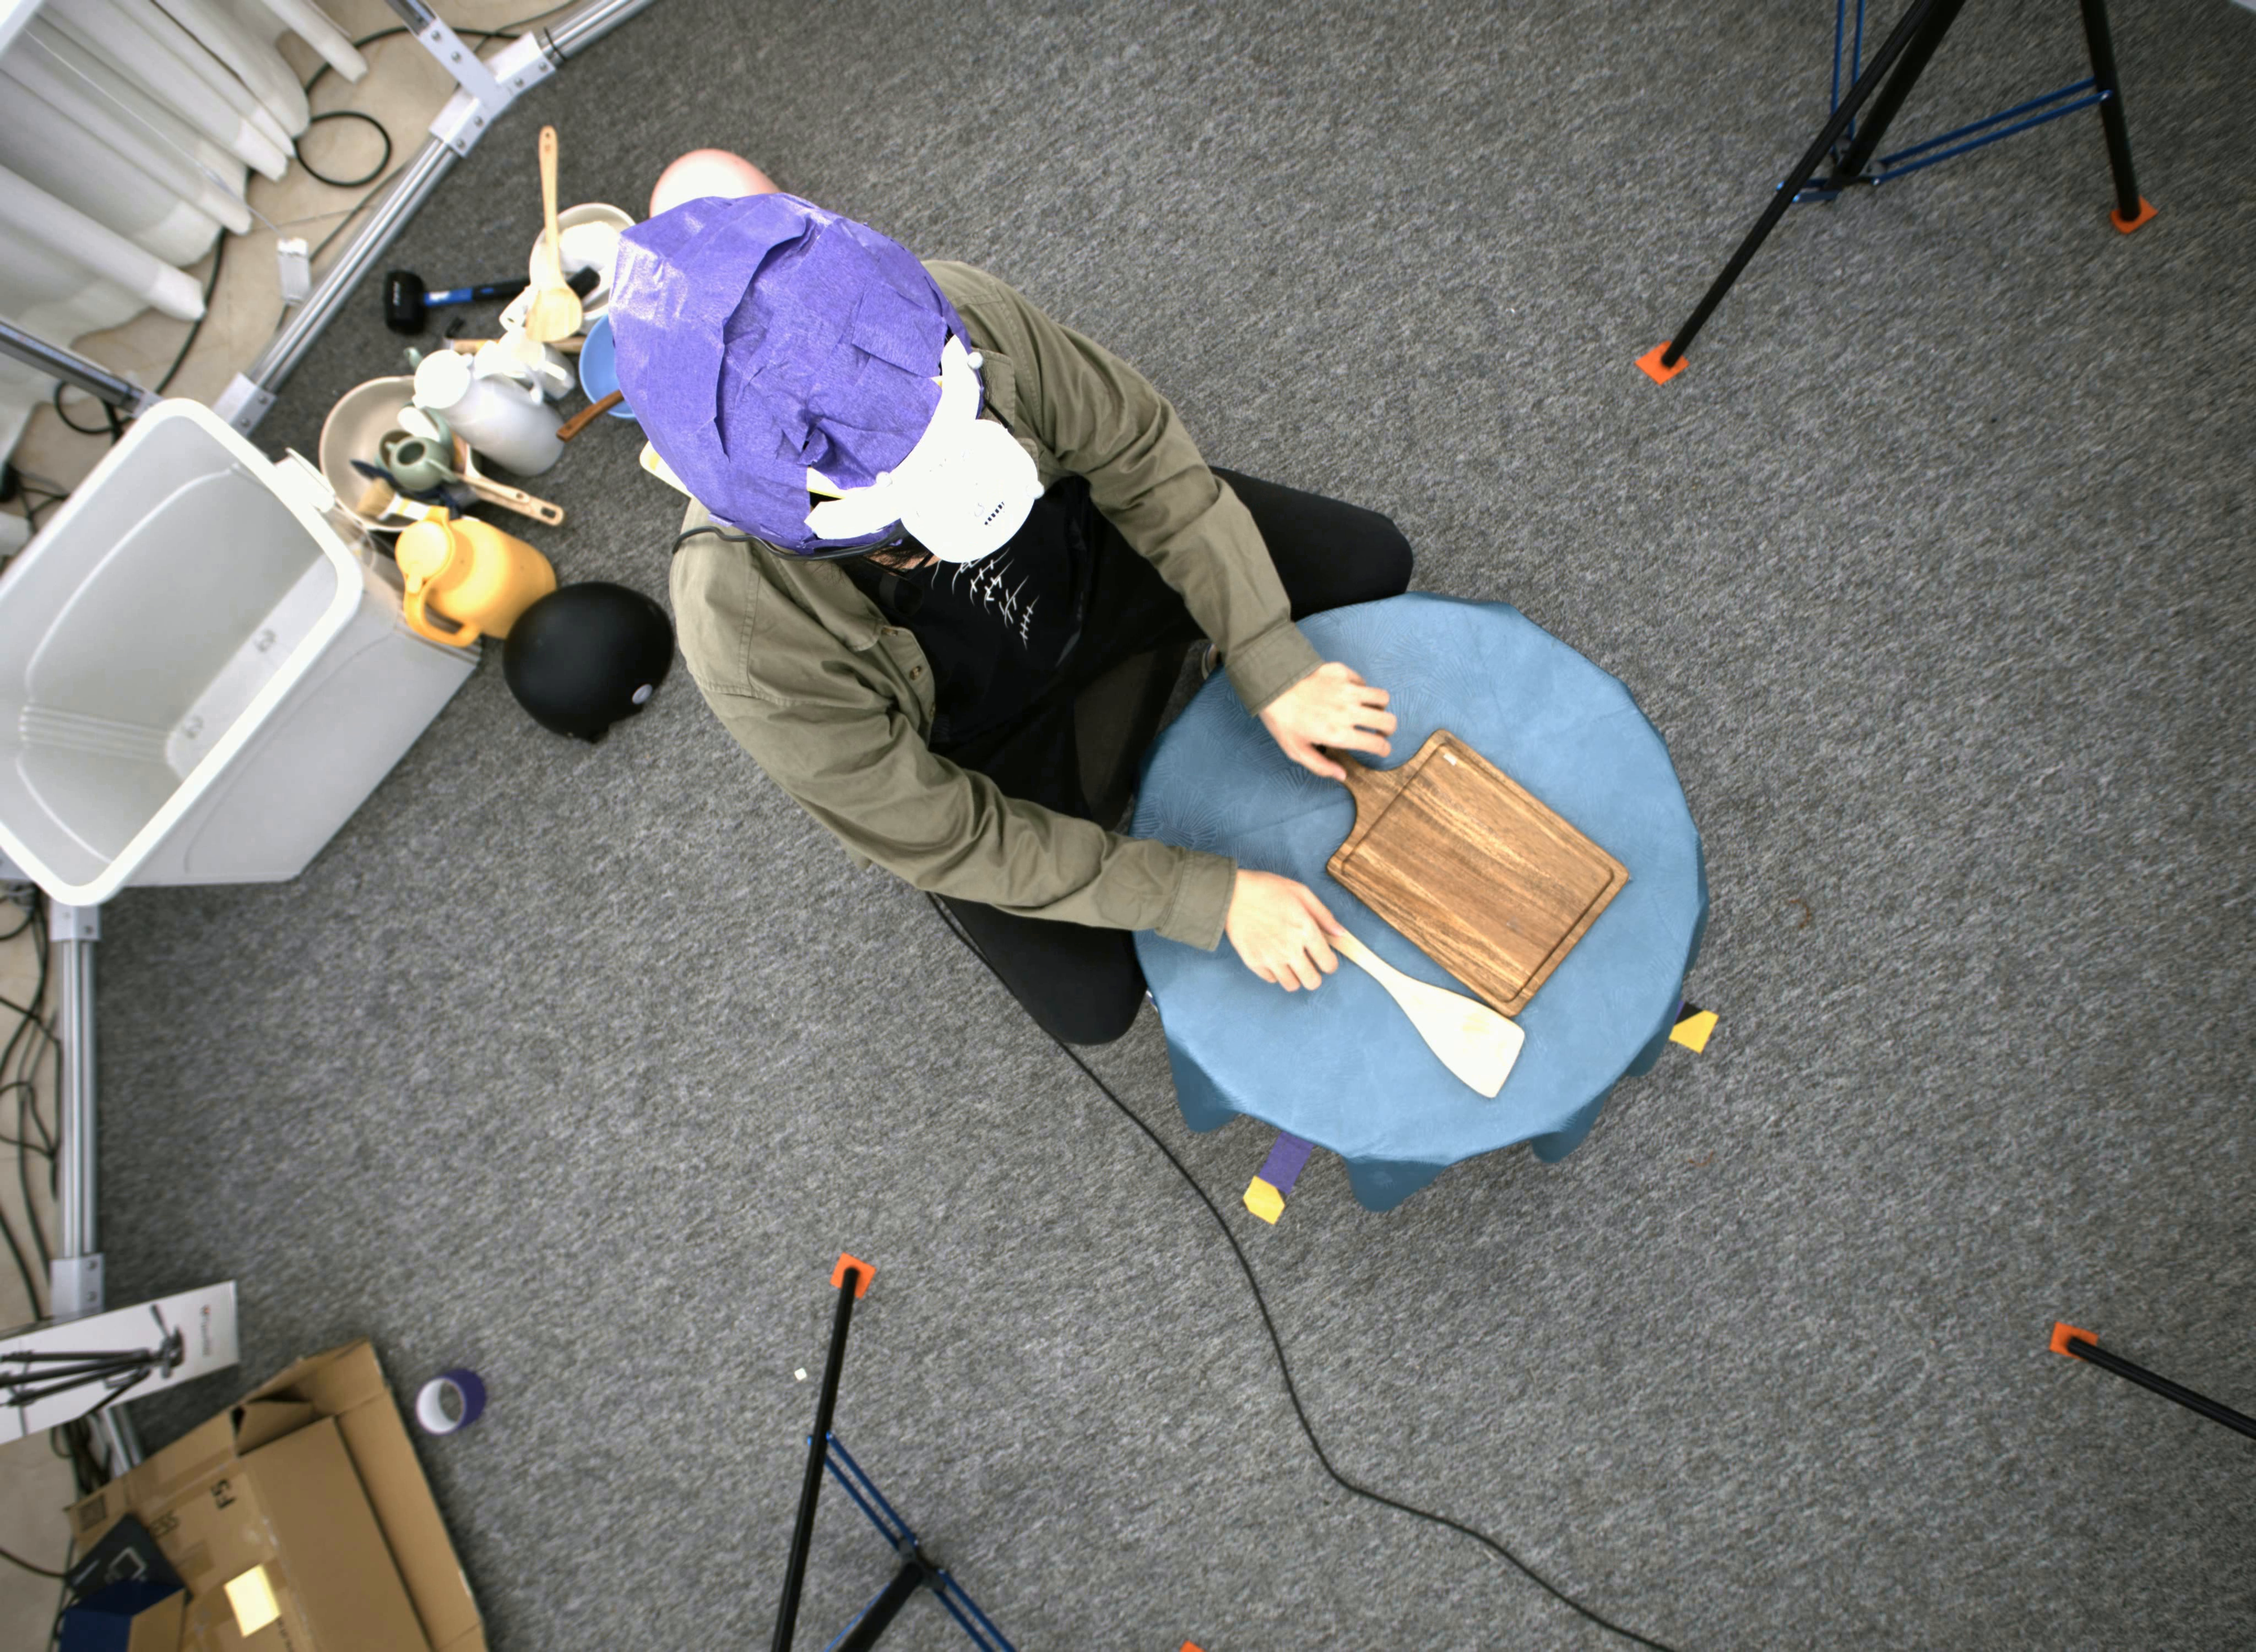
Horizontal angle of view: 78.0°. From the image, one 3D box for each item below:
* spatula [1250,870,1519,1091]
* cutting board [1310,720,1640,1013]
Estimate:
[{"bbox_3d":[0.261,0.146,1.438,0.327,0.016,0.080,36,94,9],"label":"spatula"},{"bbox_3d":[0.331,0.007,1.429,0.351,0.023,0.202,41,95,9],"label":"cutting board"}]
